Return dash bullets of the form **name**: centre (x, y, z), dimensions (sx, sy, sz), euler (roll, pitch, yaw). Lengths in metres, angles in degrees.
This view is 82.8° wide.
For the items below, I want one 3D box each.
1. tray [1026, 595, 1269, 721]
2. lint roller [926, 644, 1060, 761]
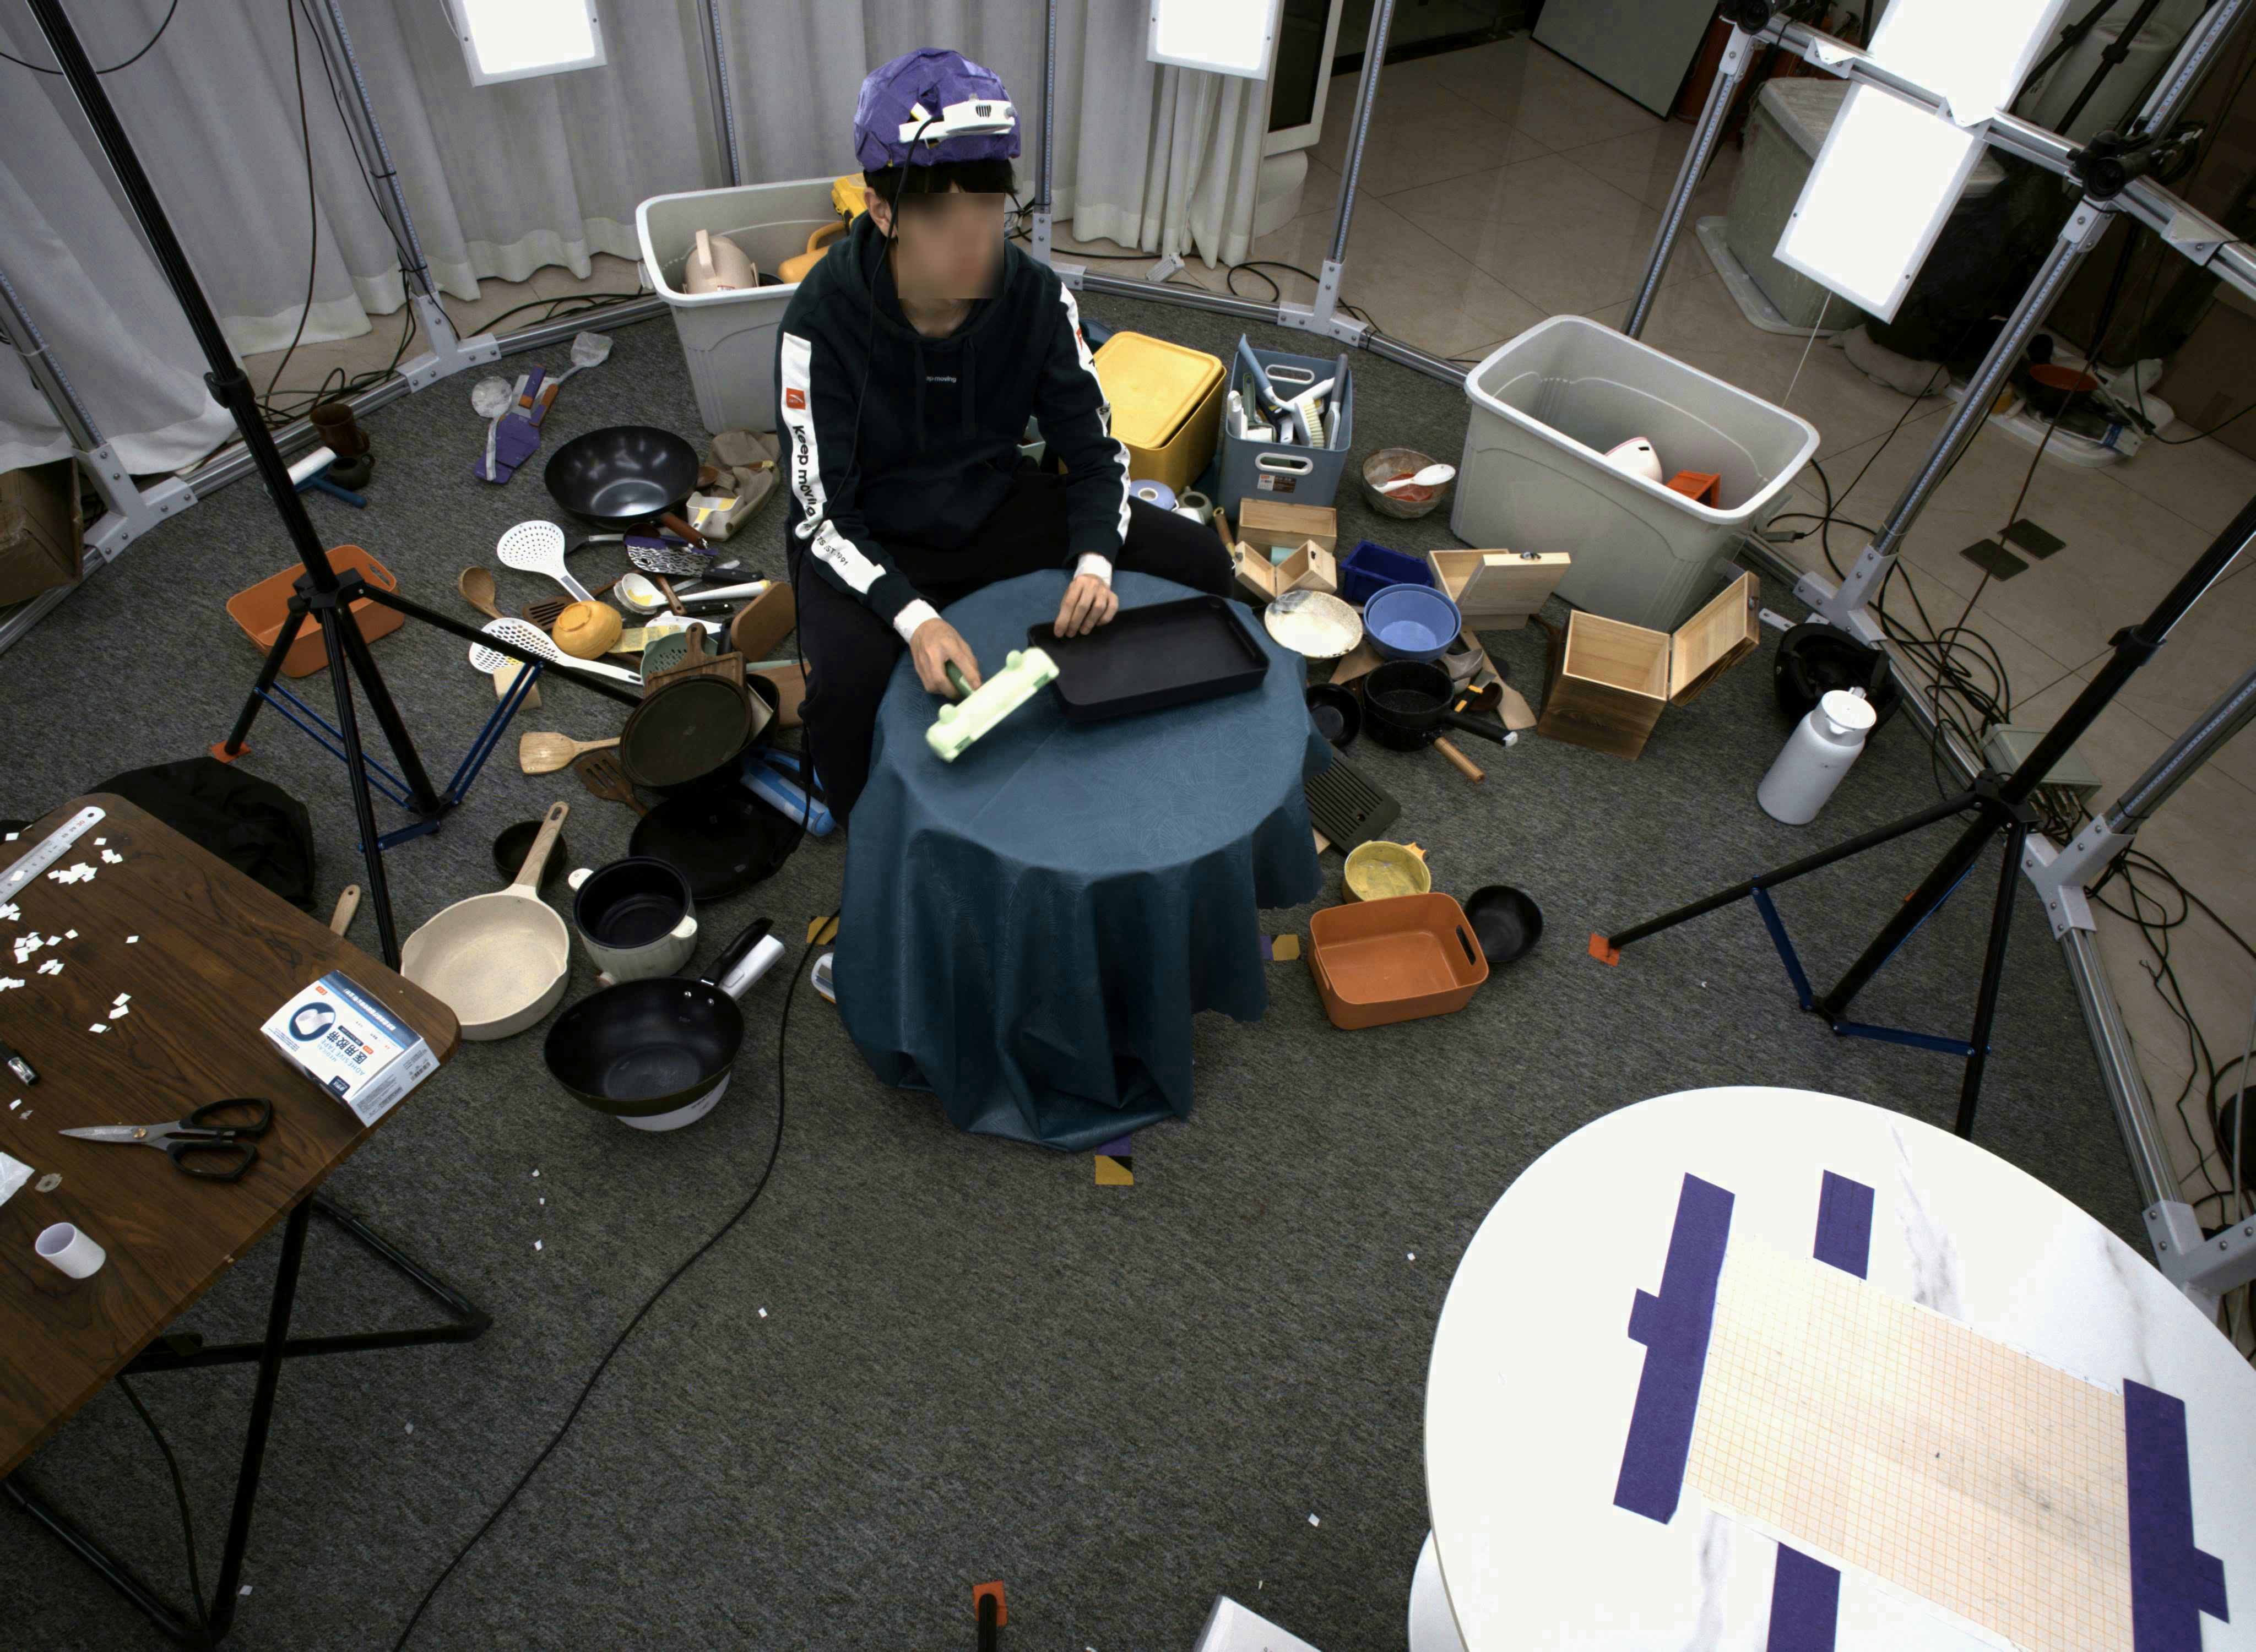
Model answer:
- **tray**: centre (0.027, -0.245, 1.838), dimensions (0.318, 0.036, 0.188), euler (-13, 48, -20)
- **lint roller**: centre (-0.218, -0.202, 1.742), dimensions (0.199, 0.080, 0.186), euler (-41, 60, -12)
